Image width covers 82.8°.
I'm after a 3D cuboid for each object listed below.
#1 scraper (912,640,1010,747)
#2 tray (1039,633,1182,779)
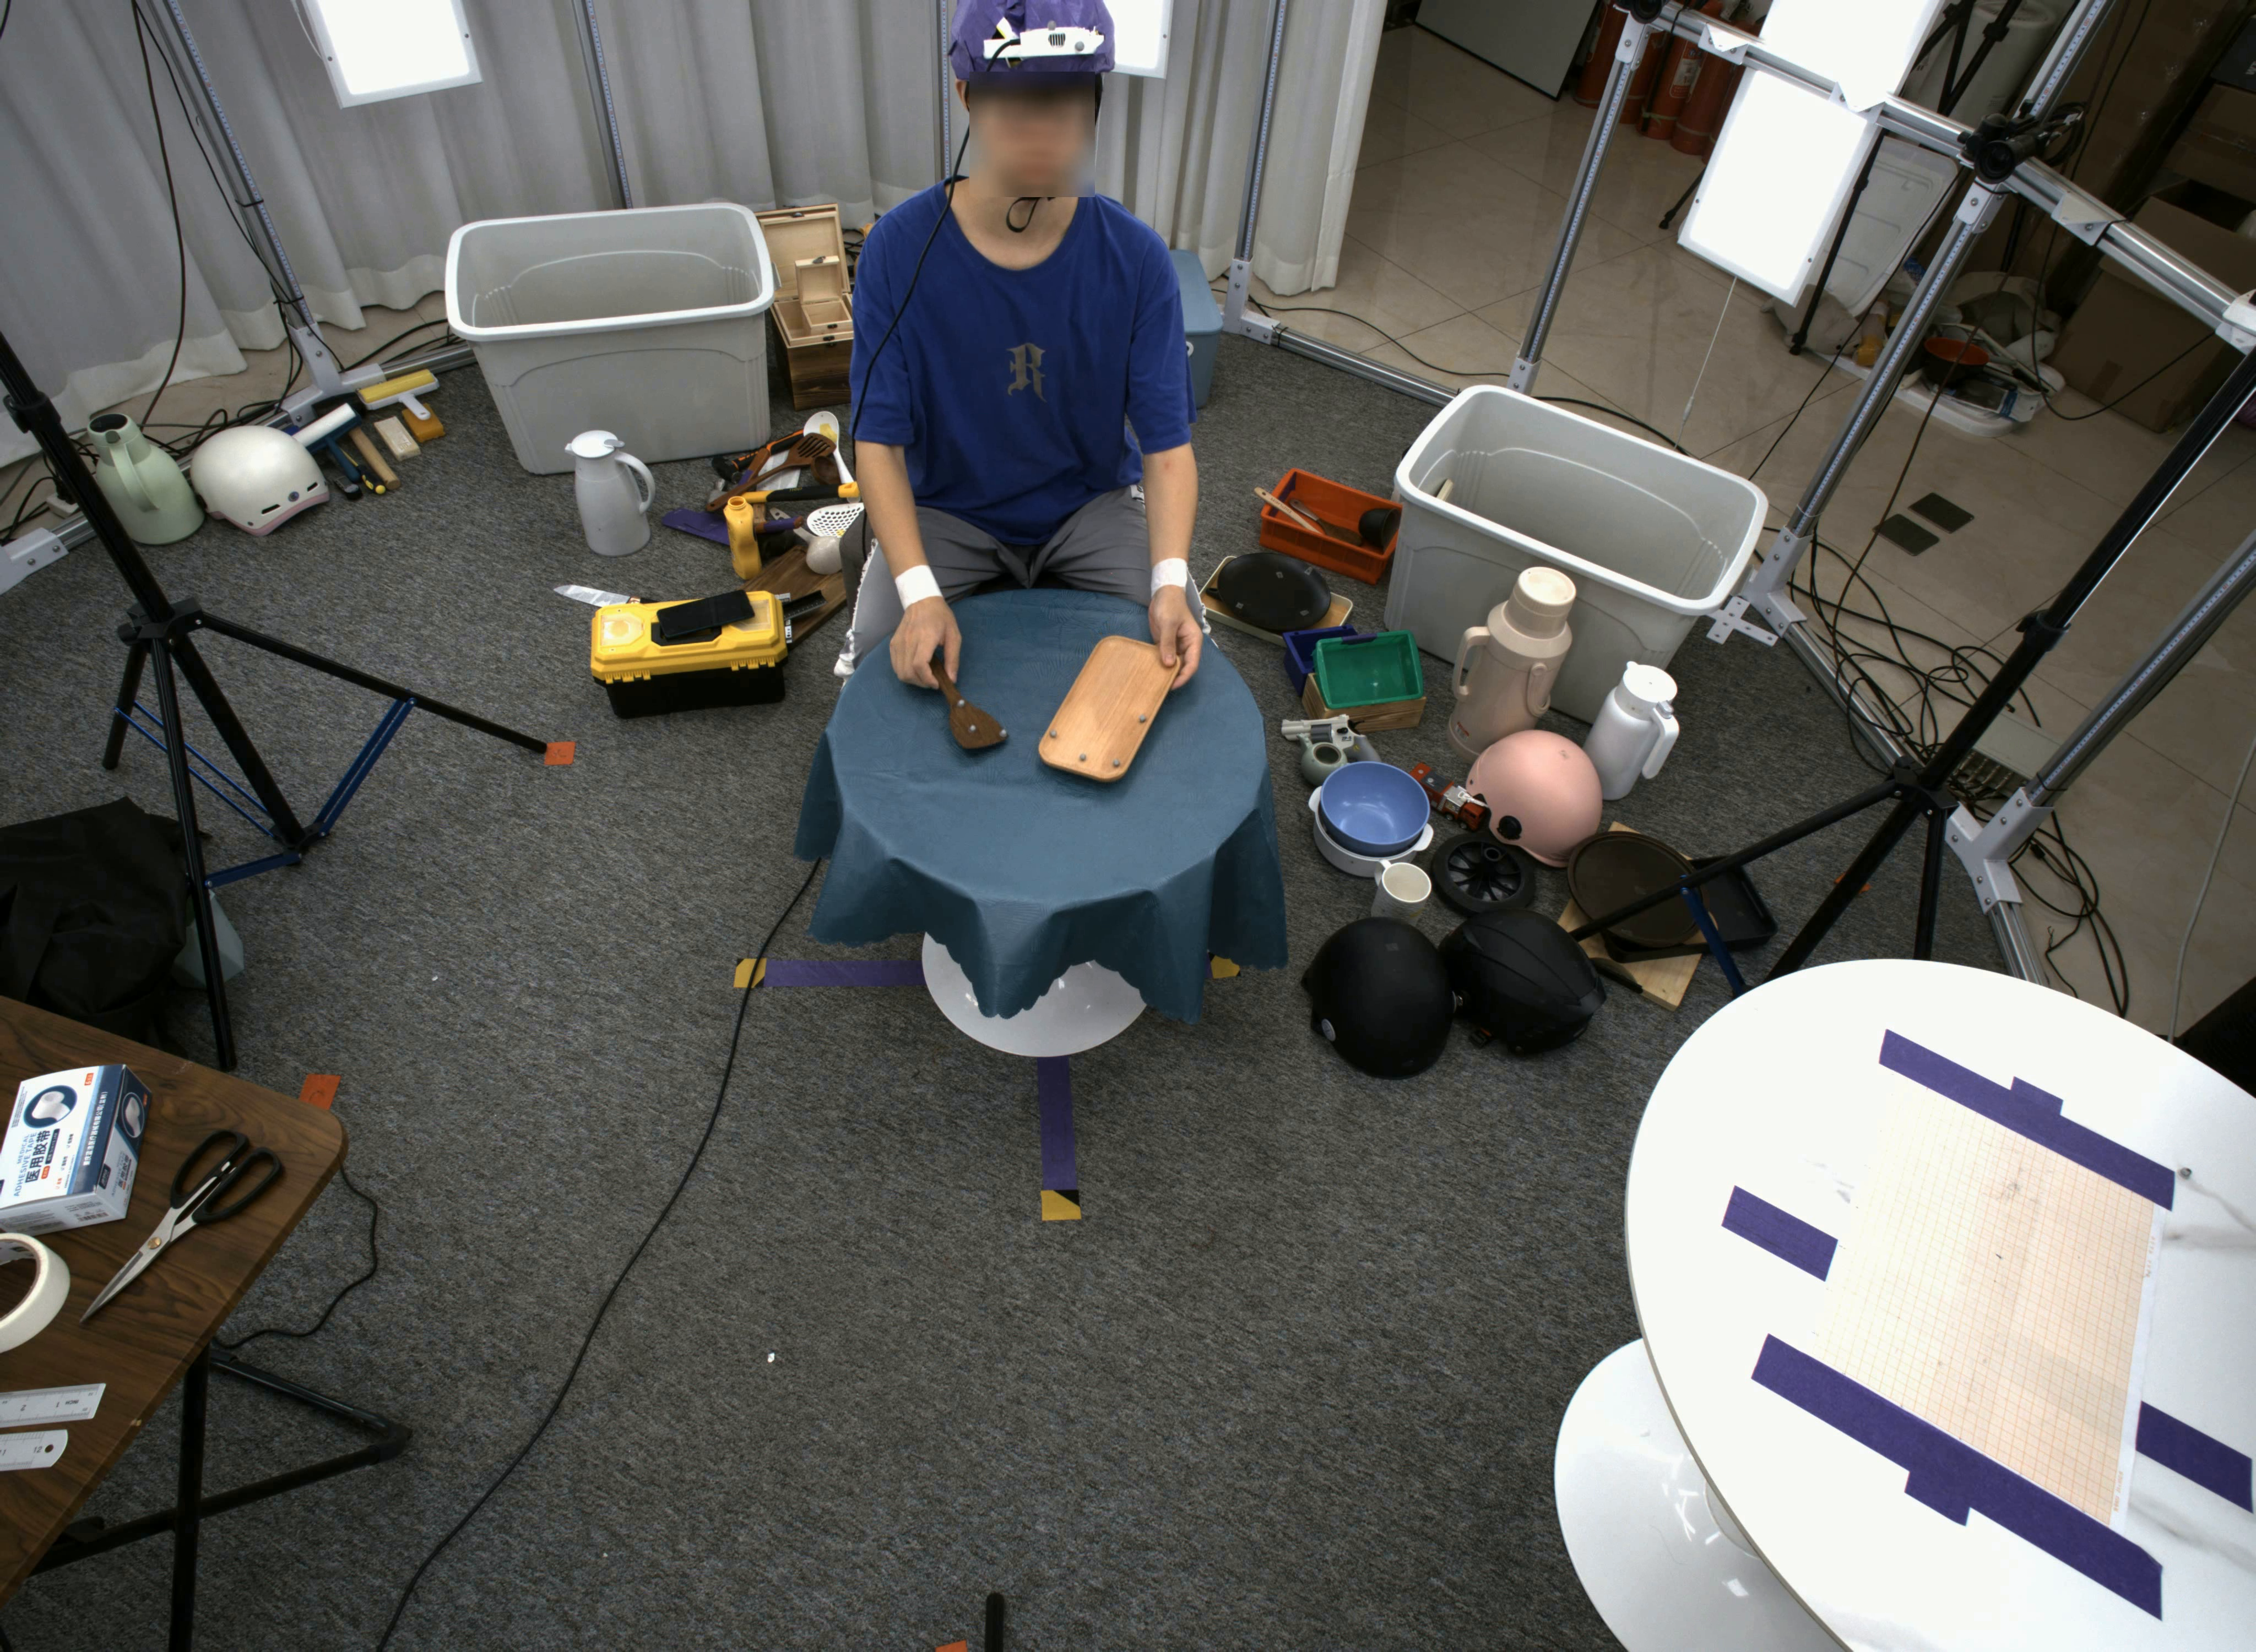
[{"bbox_3d":[-0.242,-0.186,1.786,0.076,0.010,0.215,-16,56,-32],"label":"scraper"},{"bbox_3d":[-0.022,-0.169,1.777,0.131,0.022,0.255,19,55,14],"label":"tray"}]
